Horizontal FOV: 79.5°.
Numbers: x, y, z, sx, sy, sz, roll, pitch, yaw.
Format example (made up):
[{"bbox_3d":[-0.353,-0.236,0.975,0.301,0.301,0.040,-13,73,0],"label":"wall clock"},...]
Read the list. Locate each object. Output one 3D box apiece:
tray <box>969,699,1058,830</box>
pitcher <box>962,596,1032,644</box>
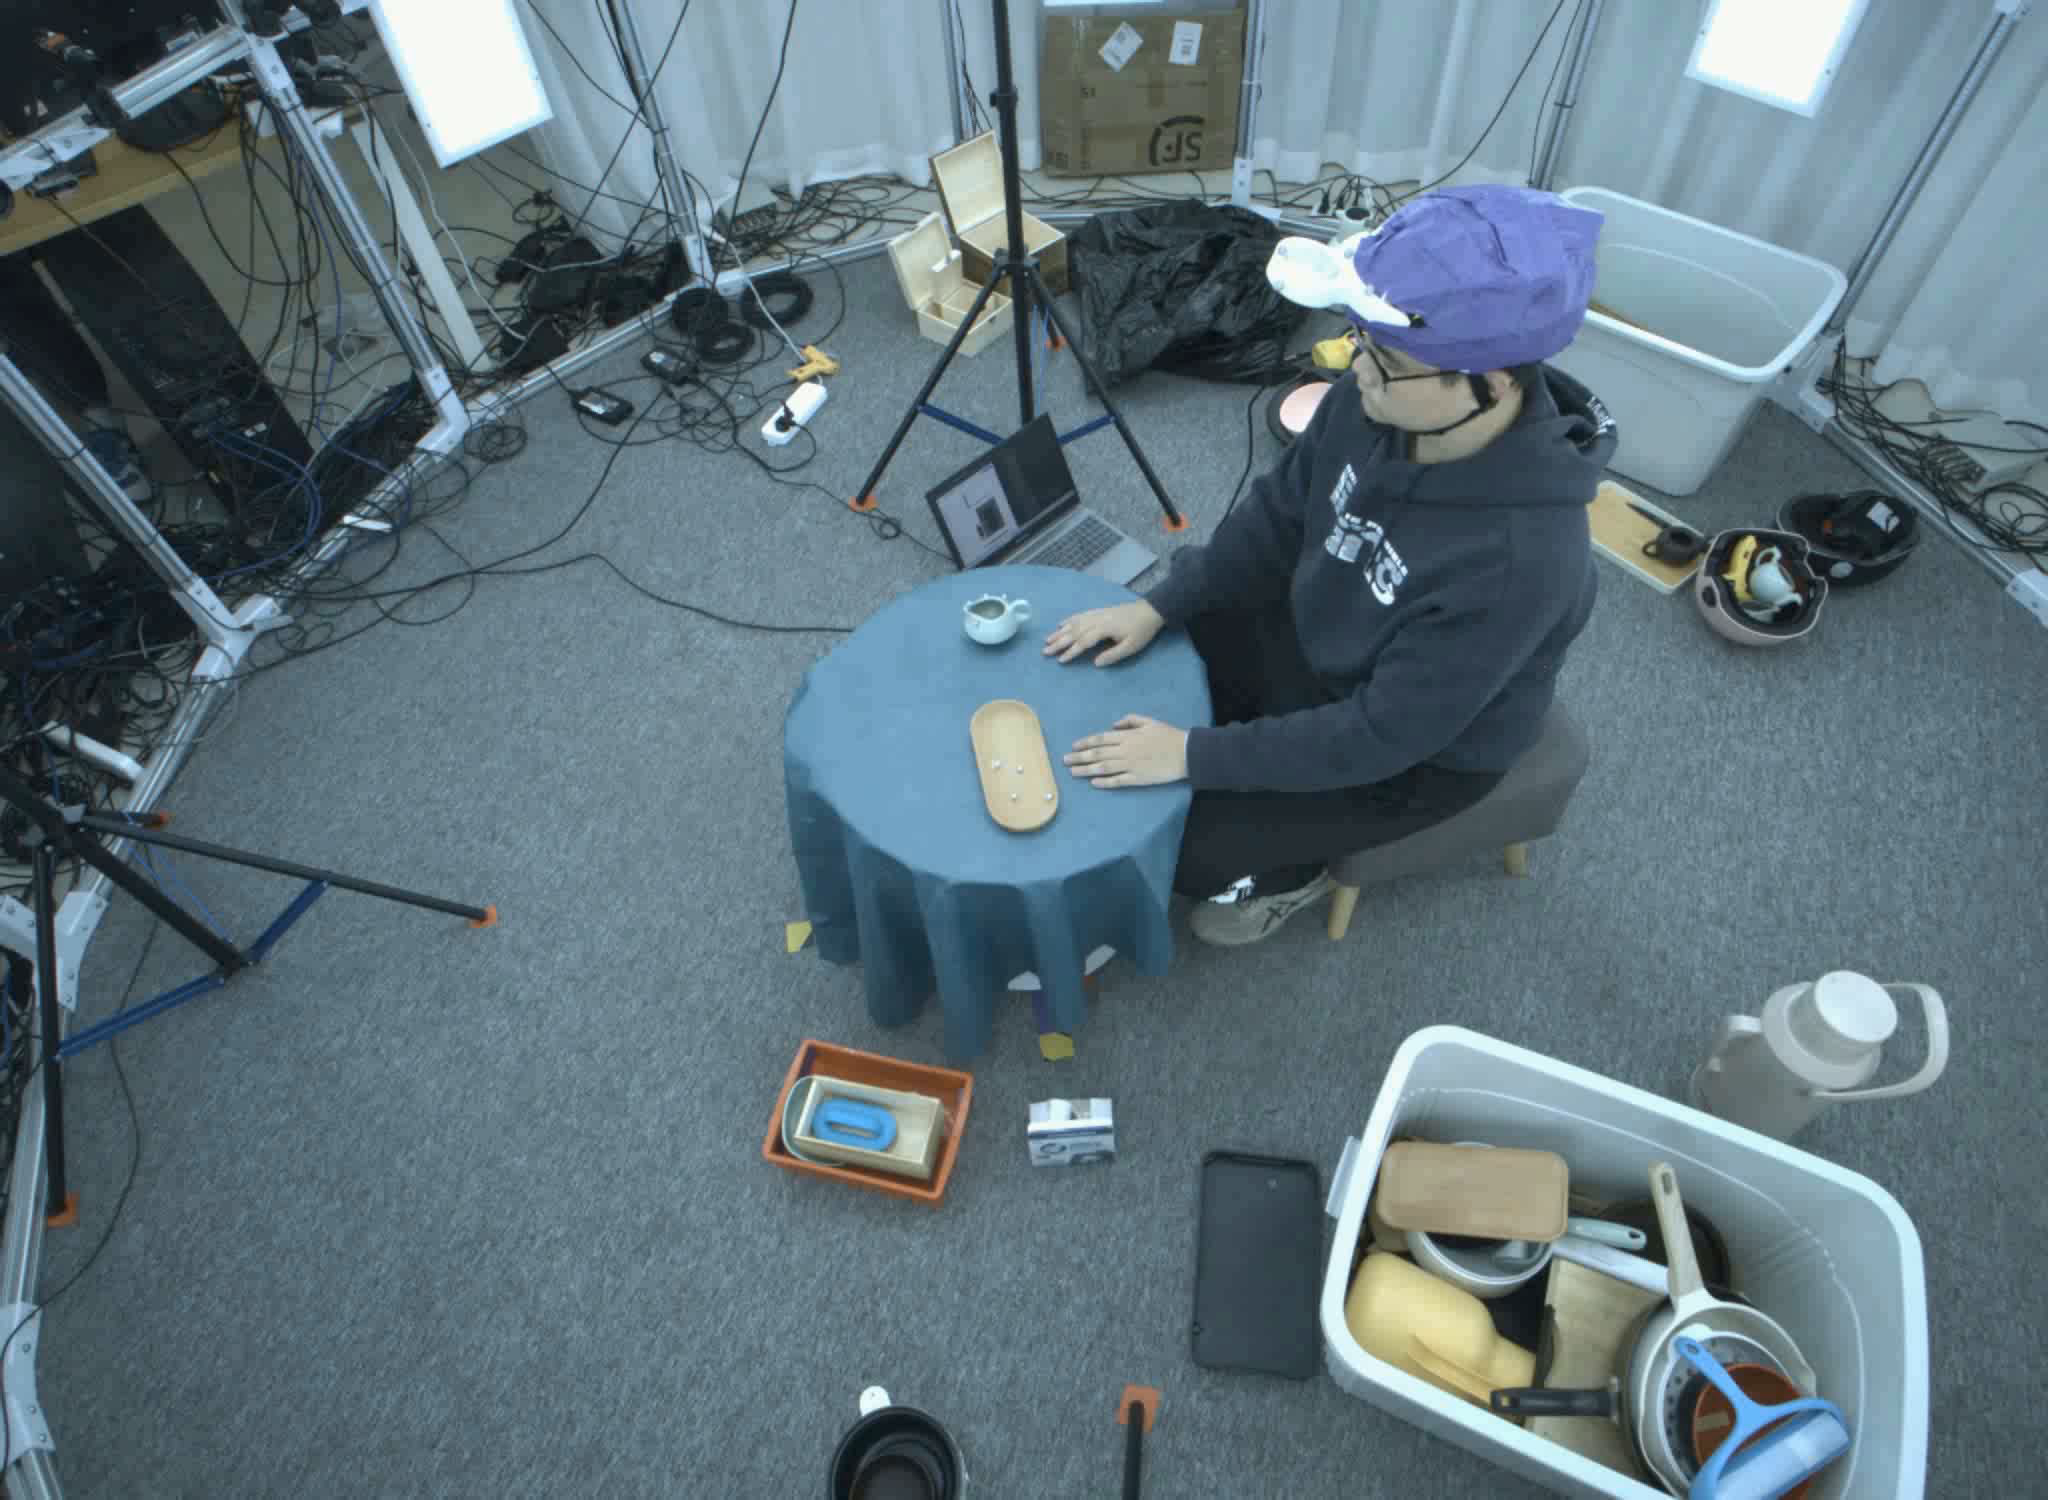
[{"bbox_3d":[-0.016,0.018,1.766,0.102,0.020,0.227,-10,53,-7],"label":"tray"},{"bbox_3d":[-0.042,-0.206,1.900,0.108,0.061,0.085,-6,56,-5],"label":"pitcher"}]
